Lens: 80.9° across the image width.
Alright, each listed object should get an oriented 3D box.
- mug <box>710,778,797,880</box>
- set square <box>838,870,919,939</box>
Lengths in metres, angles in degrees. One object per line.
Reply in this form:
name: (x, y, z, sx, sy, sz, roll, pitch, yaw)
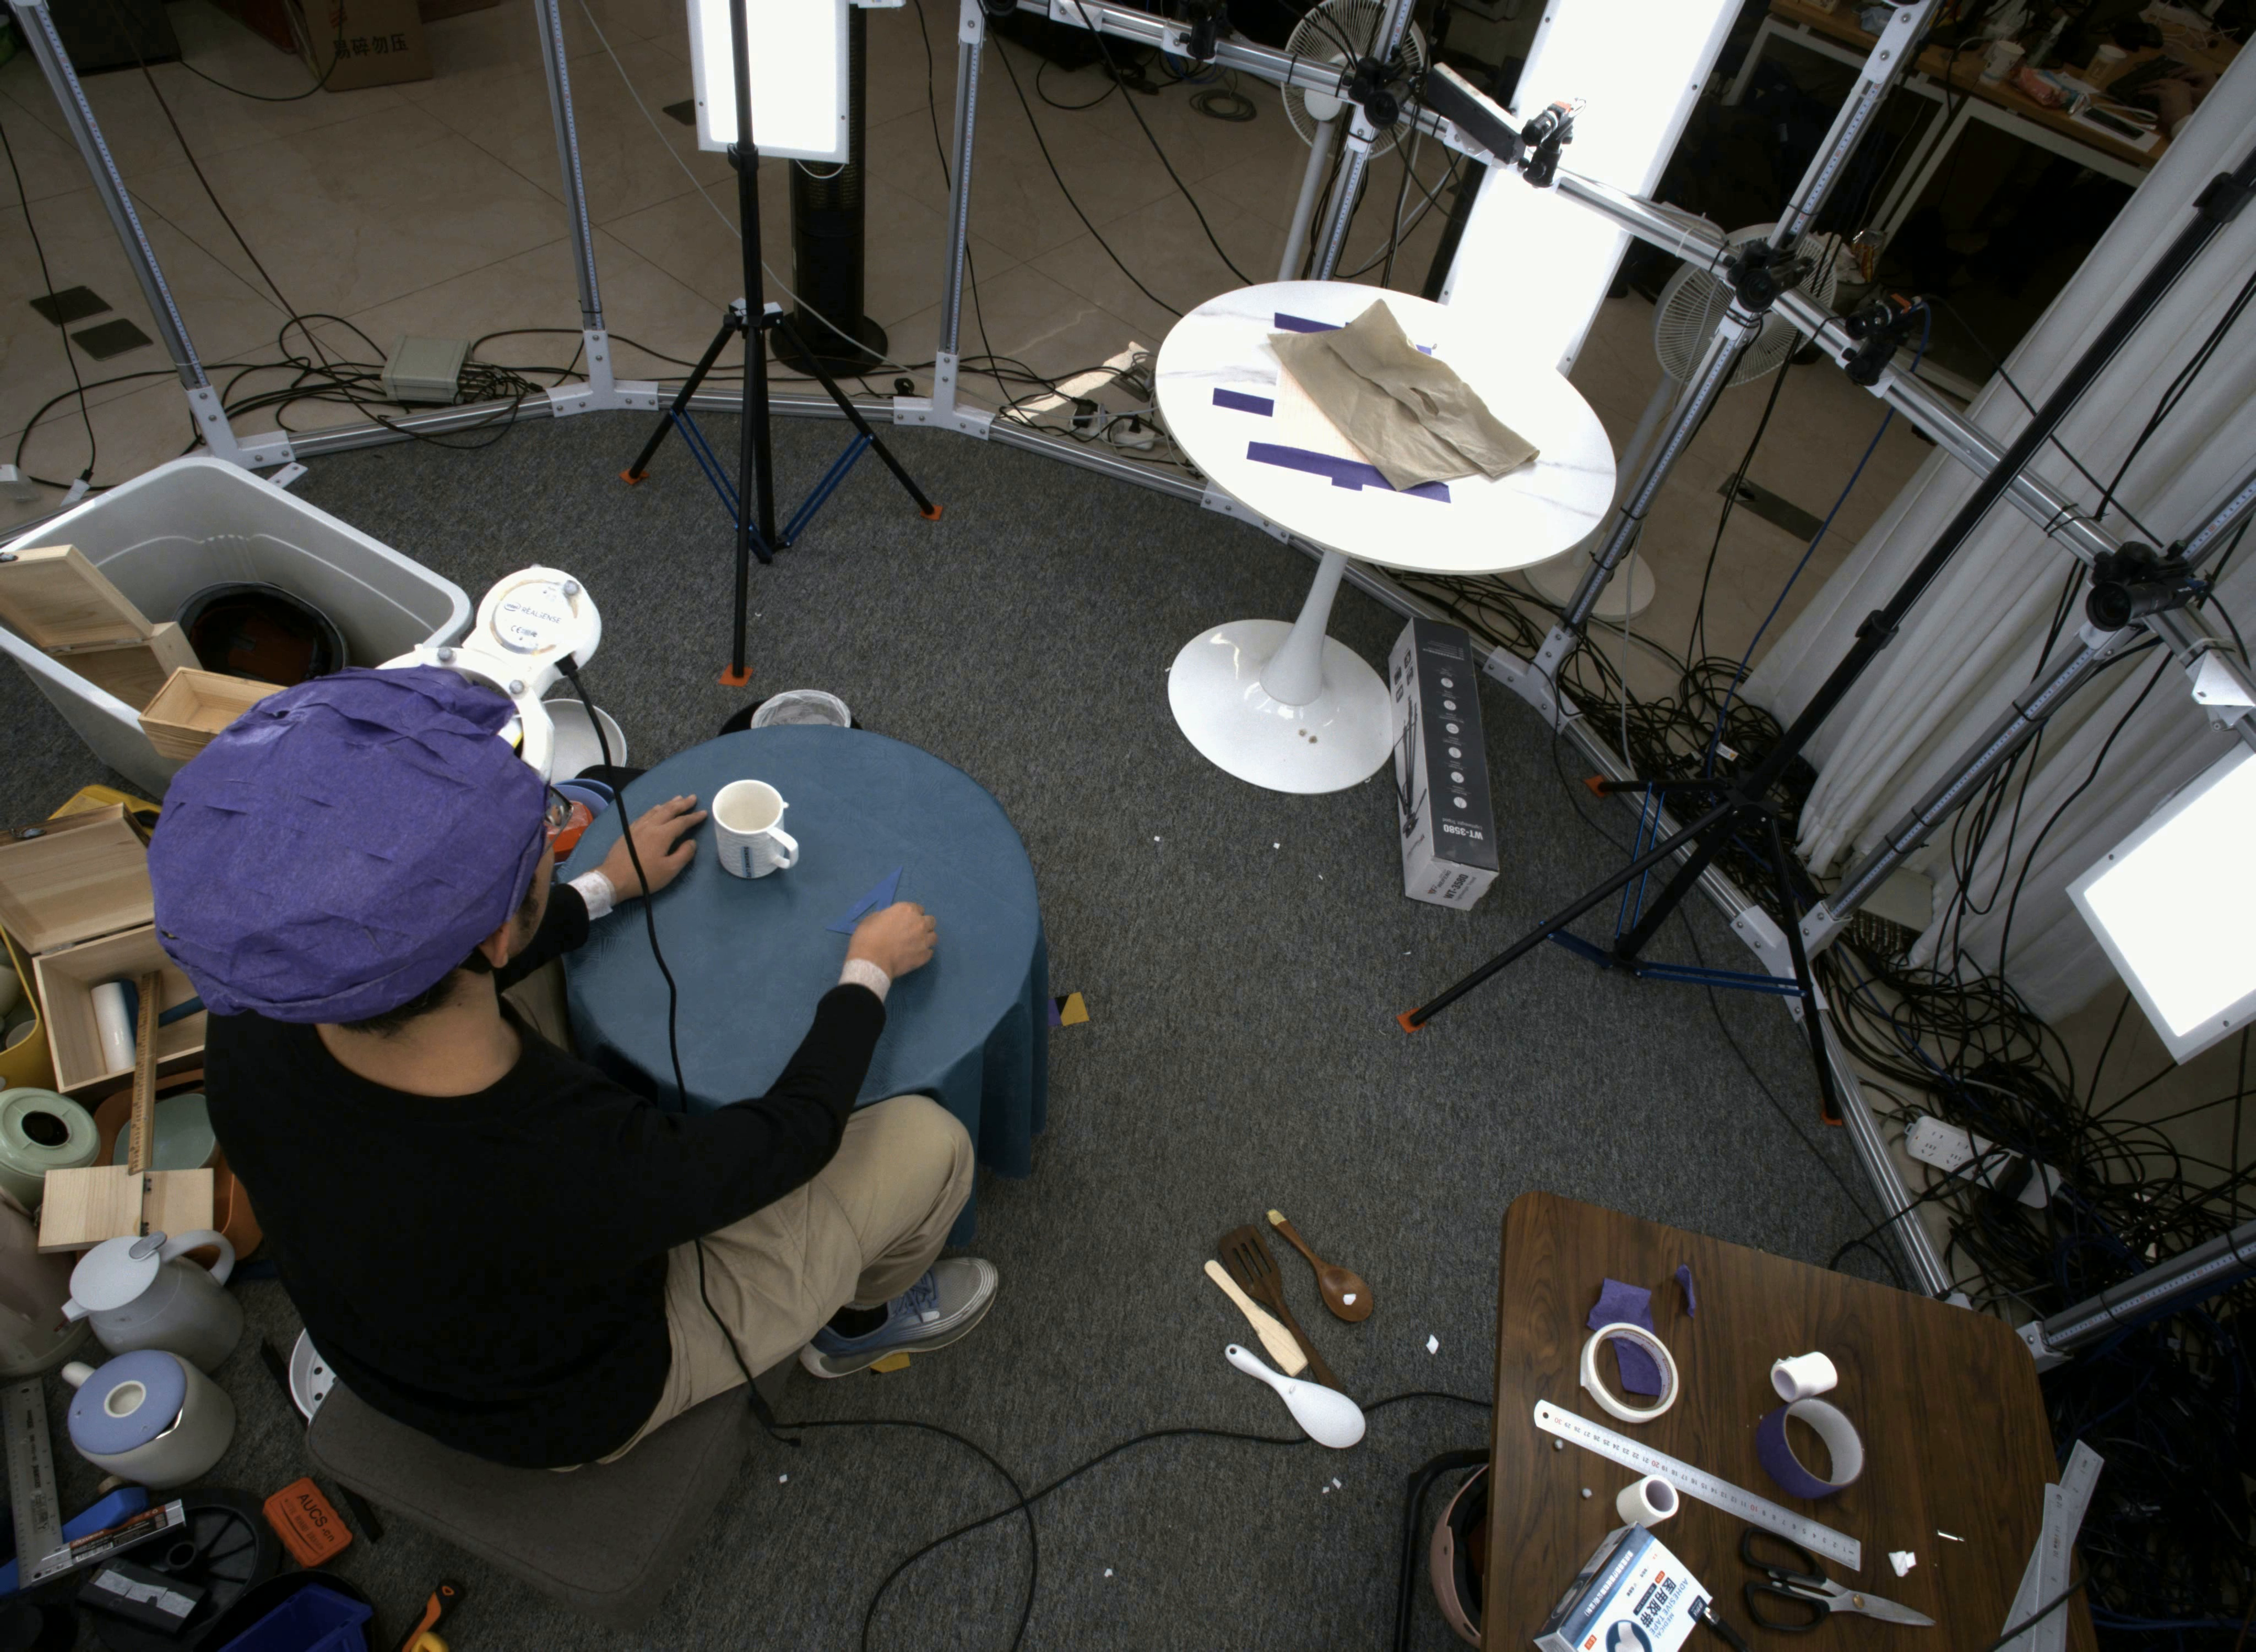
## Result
mug: (-0.466, 0.012, 1.632, 0.116, 0.104, 0.084, 30, 52, 11)
set square: (-0.305, 0.104, 1.670, 0.060, 0.007, 0.132, 39, 54, 18)
